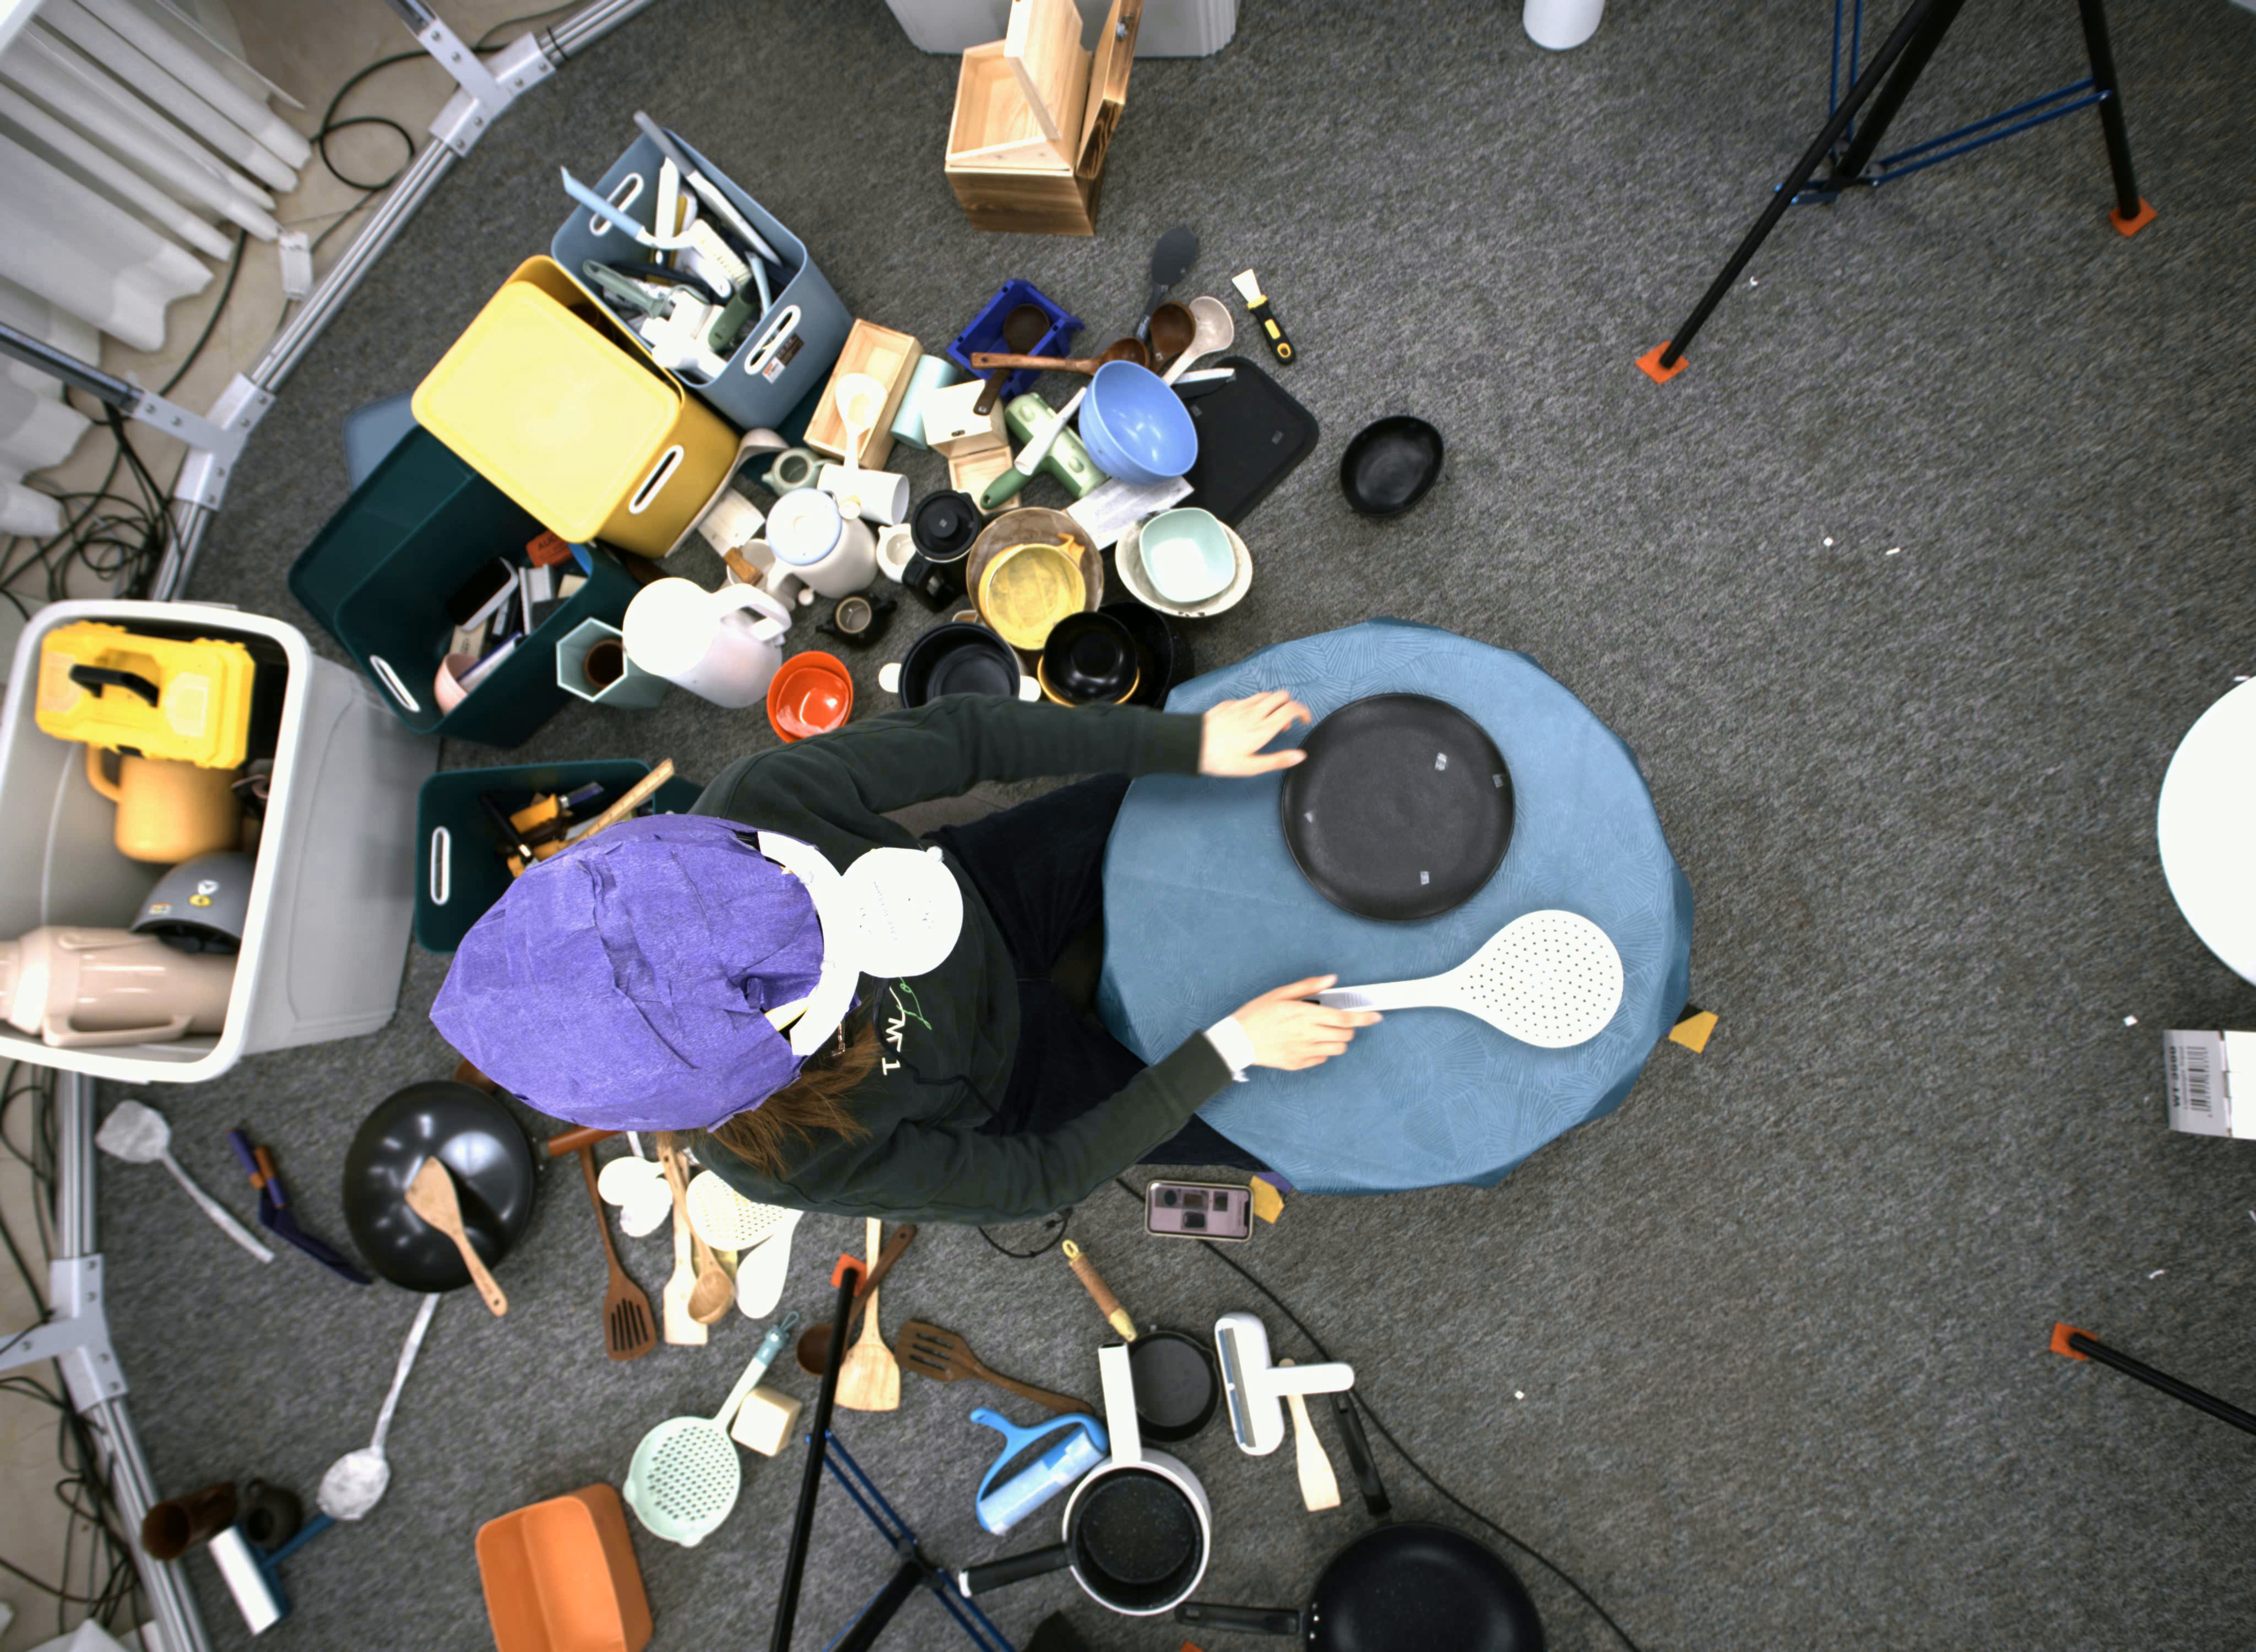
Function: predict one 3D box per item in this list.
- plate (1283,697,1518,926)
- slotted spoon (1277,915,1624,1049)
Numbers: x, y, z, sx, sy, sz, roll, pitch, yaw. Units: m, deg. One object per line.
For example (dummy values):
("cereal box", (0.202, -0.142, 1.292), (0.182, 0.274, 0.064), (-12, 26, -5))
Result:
("plate", (0.287, -0.017, 1.456), (0.245, 0.023, 0.243), (-1, 86, 11))
("slotted spoon", (0.328, 0.170, 1.424), (0.351, 0.046, 0.135), (-7, 83, 11))
